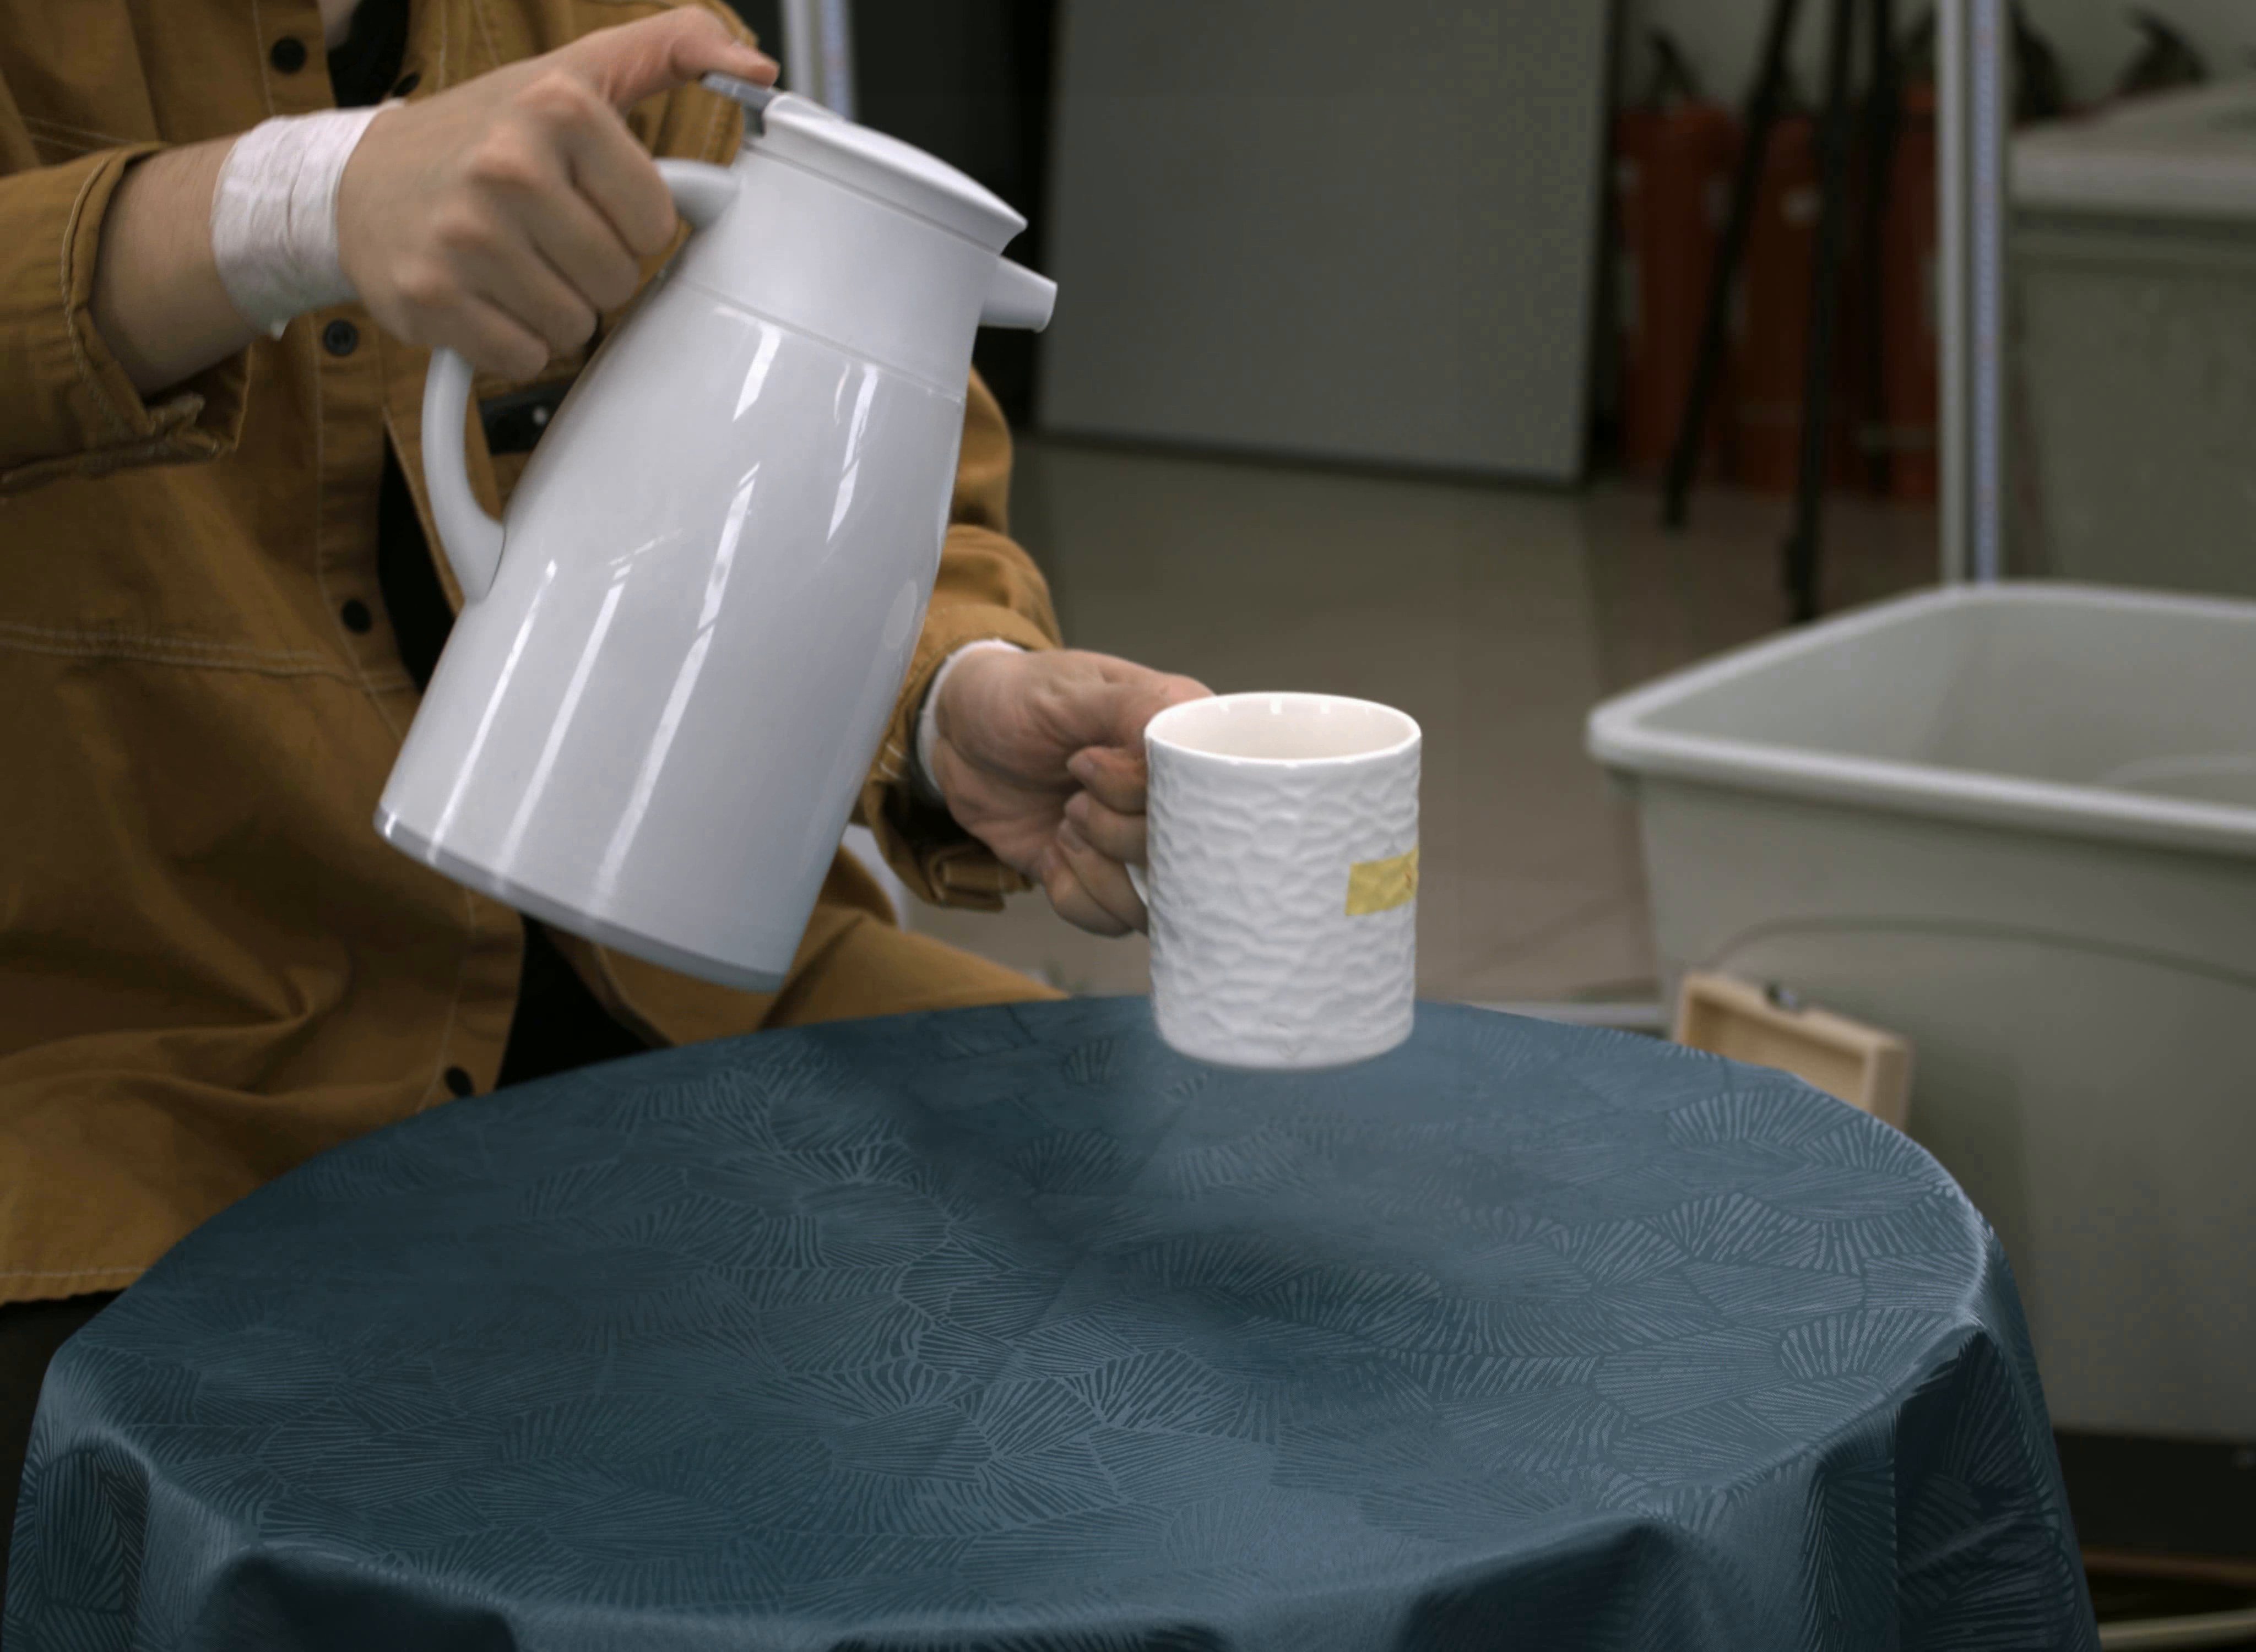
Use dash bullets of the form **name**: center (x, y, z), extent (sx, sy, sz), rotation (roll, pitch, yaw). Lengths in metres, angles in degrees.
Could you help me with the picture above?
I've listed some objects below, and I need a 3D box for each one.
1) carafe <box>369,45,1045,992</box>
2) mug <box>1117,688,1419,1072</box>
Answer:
- **carafe**: center (-0.134, -0.098, 1.587), extent (0.165, 0.251, 0.133), rotation (20, 4, -18)
- **mug**: center (0.037, 0.014, 1.681), extent (0.083, 0.103, 0.119), rotation (-11, 17, -37)
